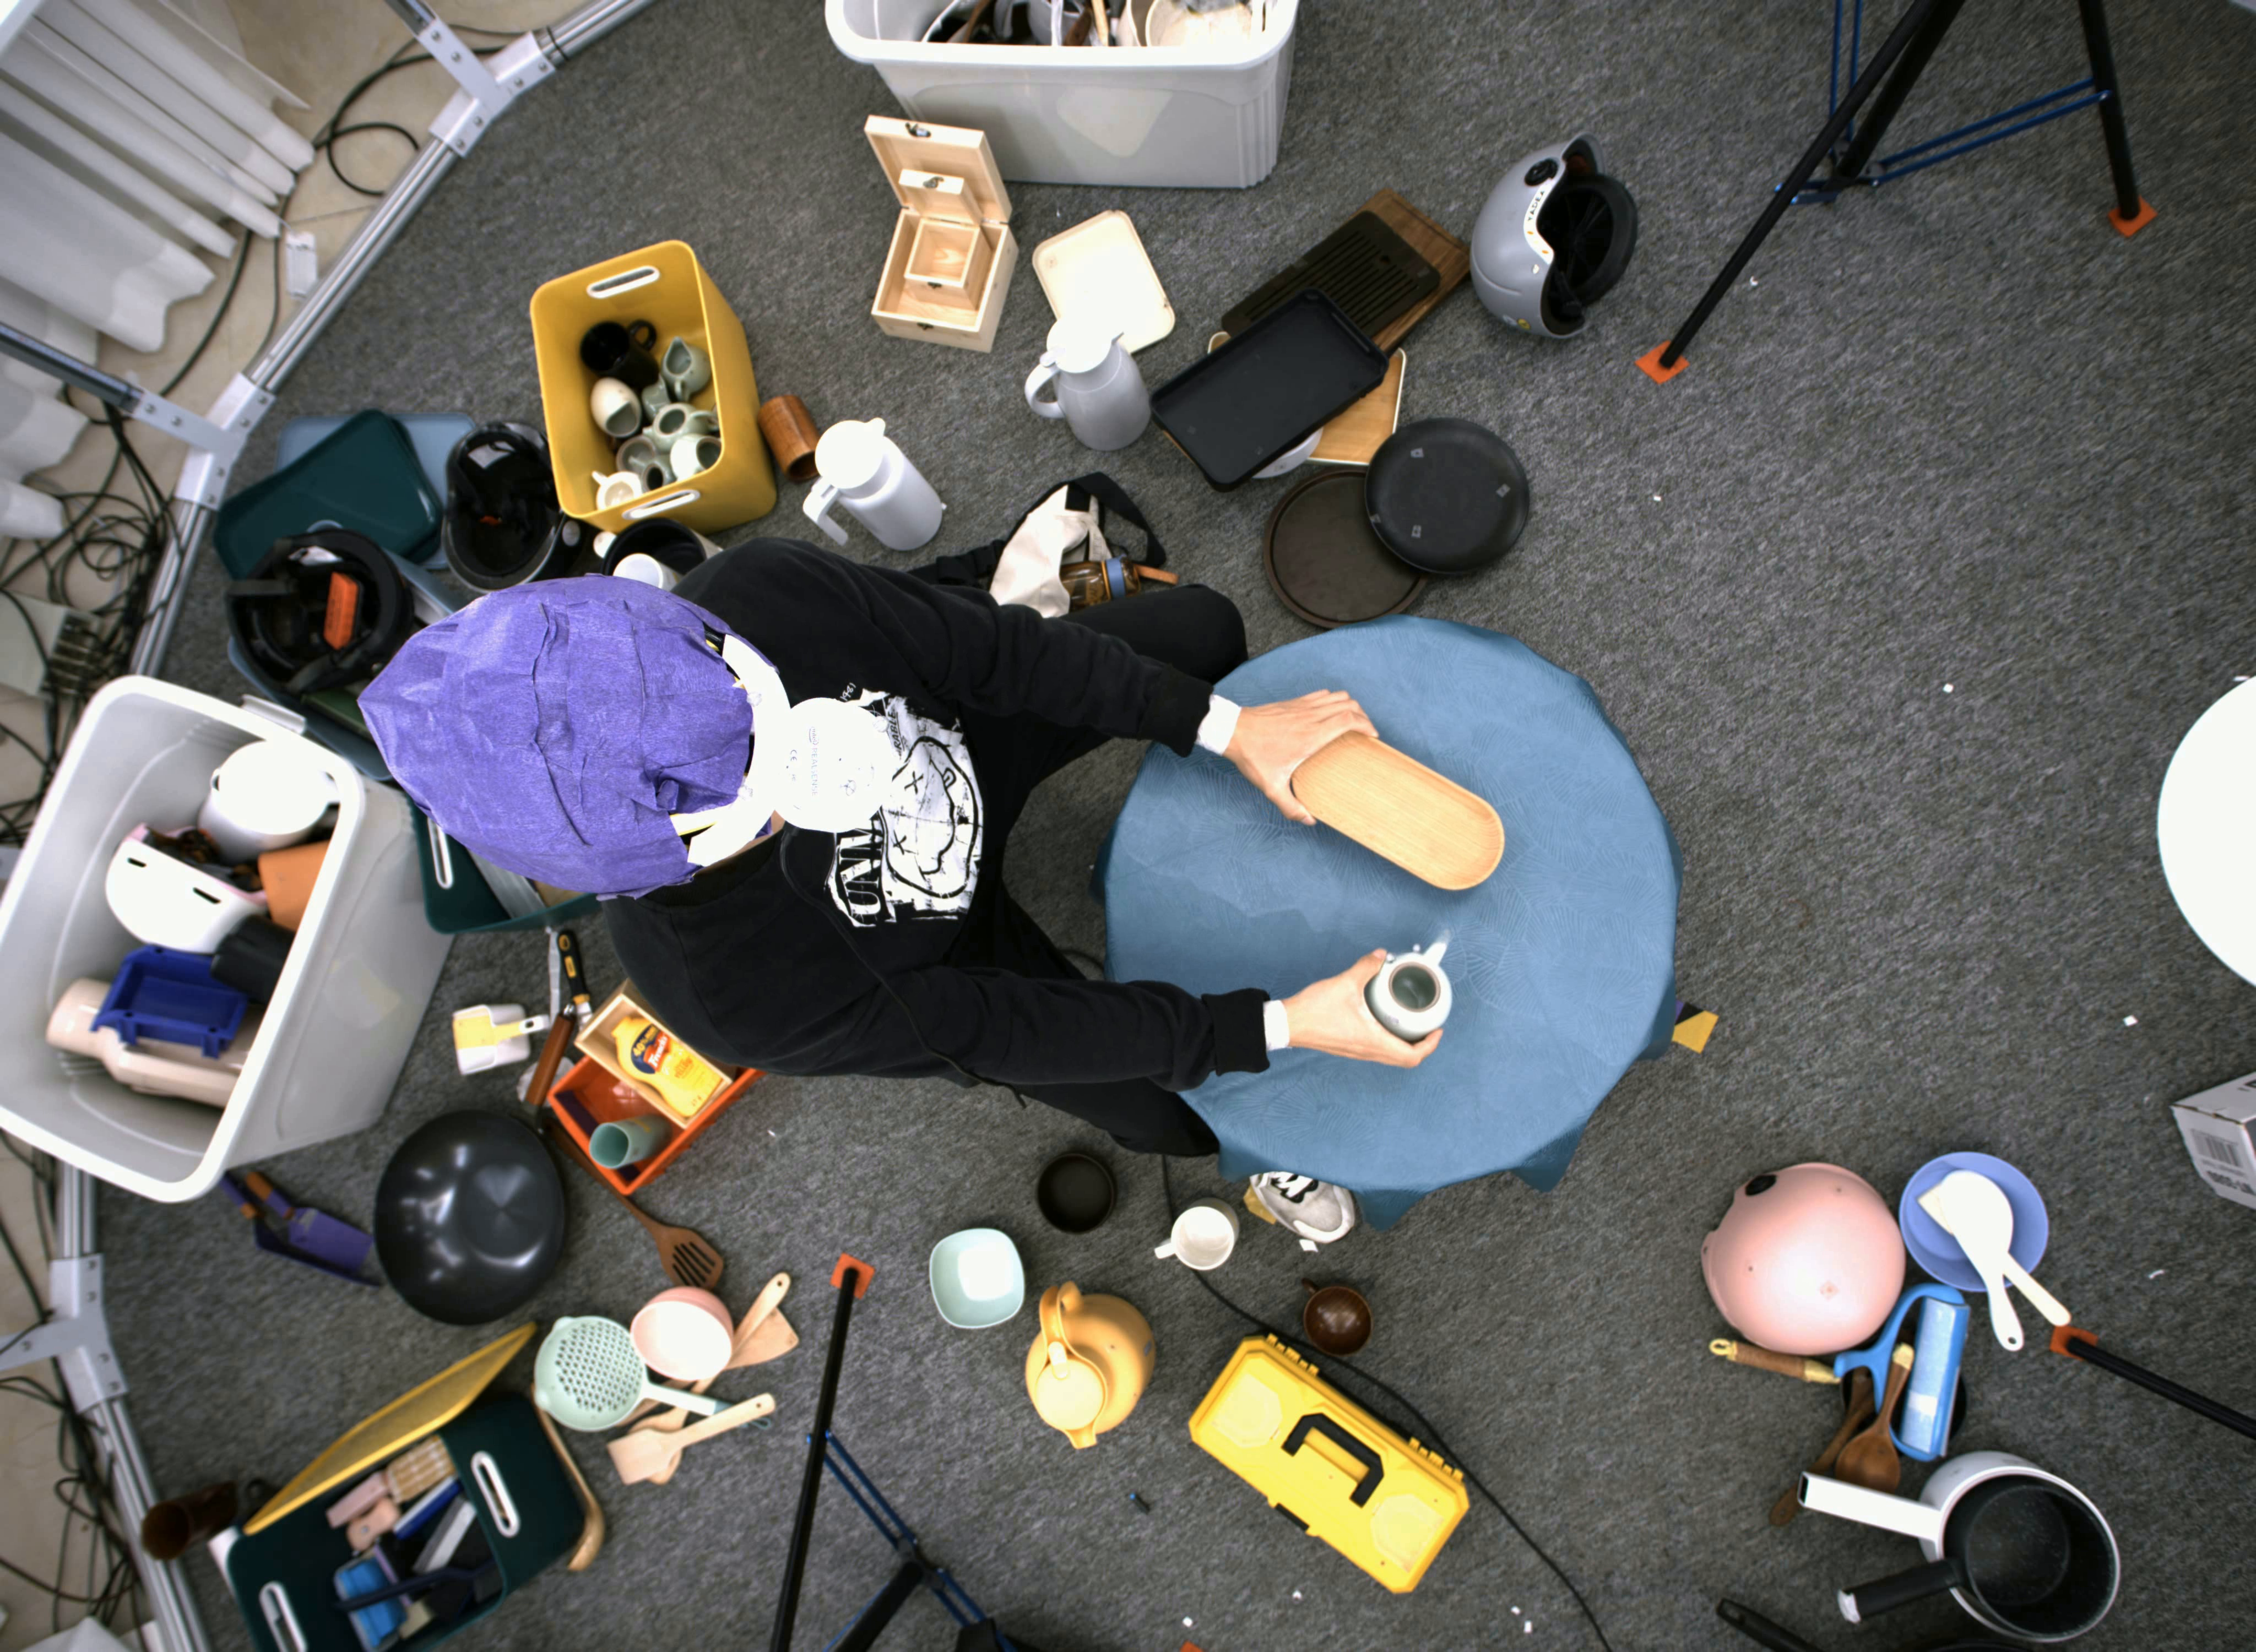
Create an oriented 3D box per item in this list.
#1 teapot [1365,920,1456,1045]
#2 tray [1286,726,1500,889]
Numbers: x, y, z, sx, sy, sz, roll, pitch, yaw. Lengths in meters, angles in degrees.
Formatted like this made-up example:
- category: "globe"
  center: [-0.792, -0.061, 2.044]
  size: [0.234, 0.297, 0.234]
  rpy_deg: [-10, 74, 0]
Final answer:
- category: "teapot"
  center: [0.280, 0.158, 1.370]
  size: [0.088, 0.076, 0.141]
  rpy_deg: [35, 70, 11]
- category: "tray"
  center: [0.269, -0.020, 1.402]
  size: [0.231, 0.020, 0.102]
  rpy_deg: [30, 93, 8]
